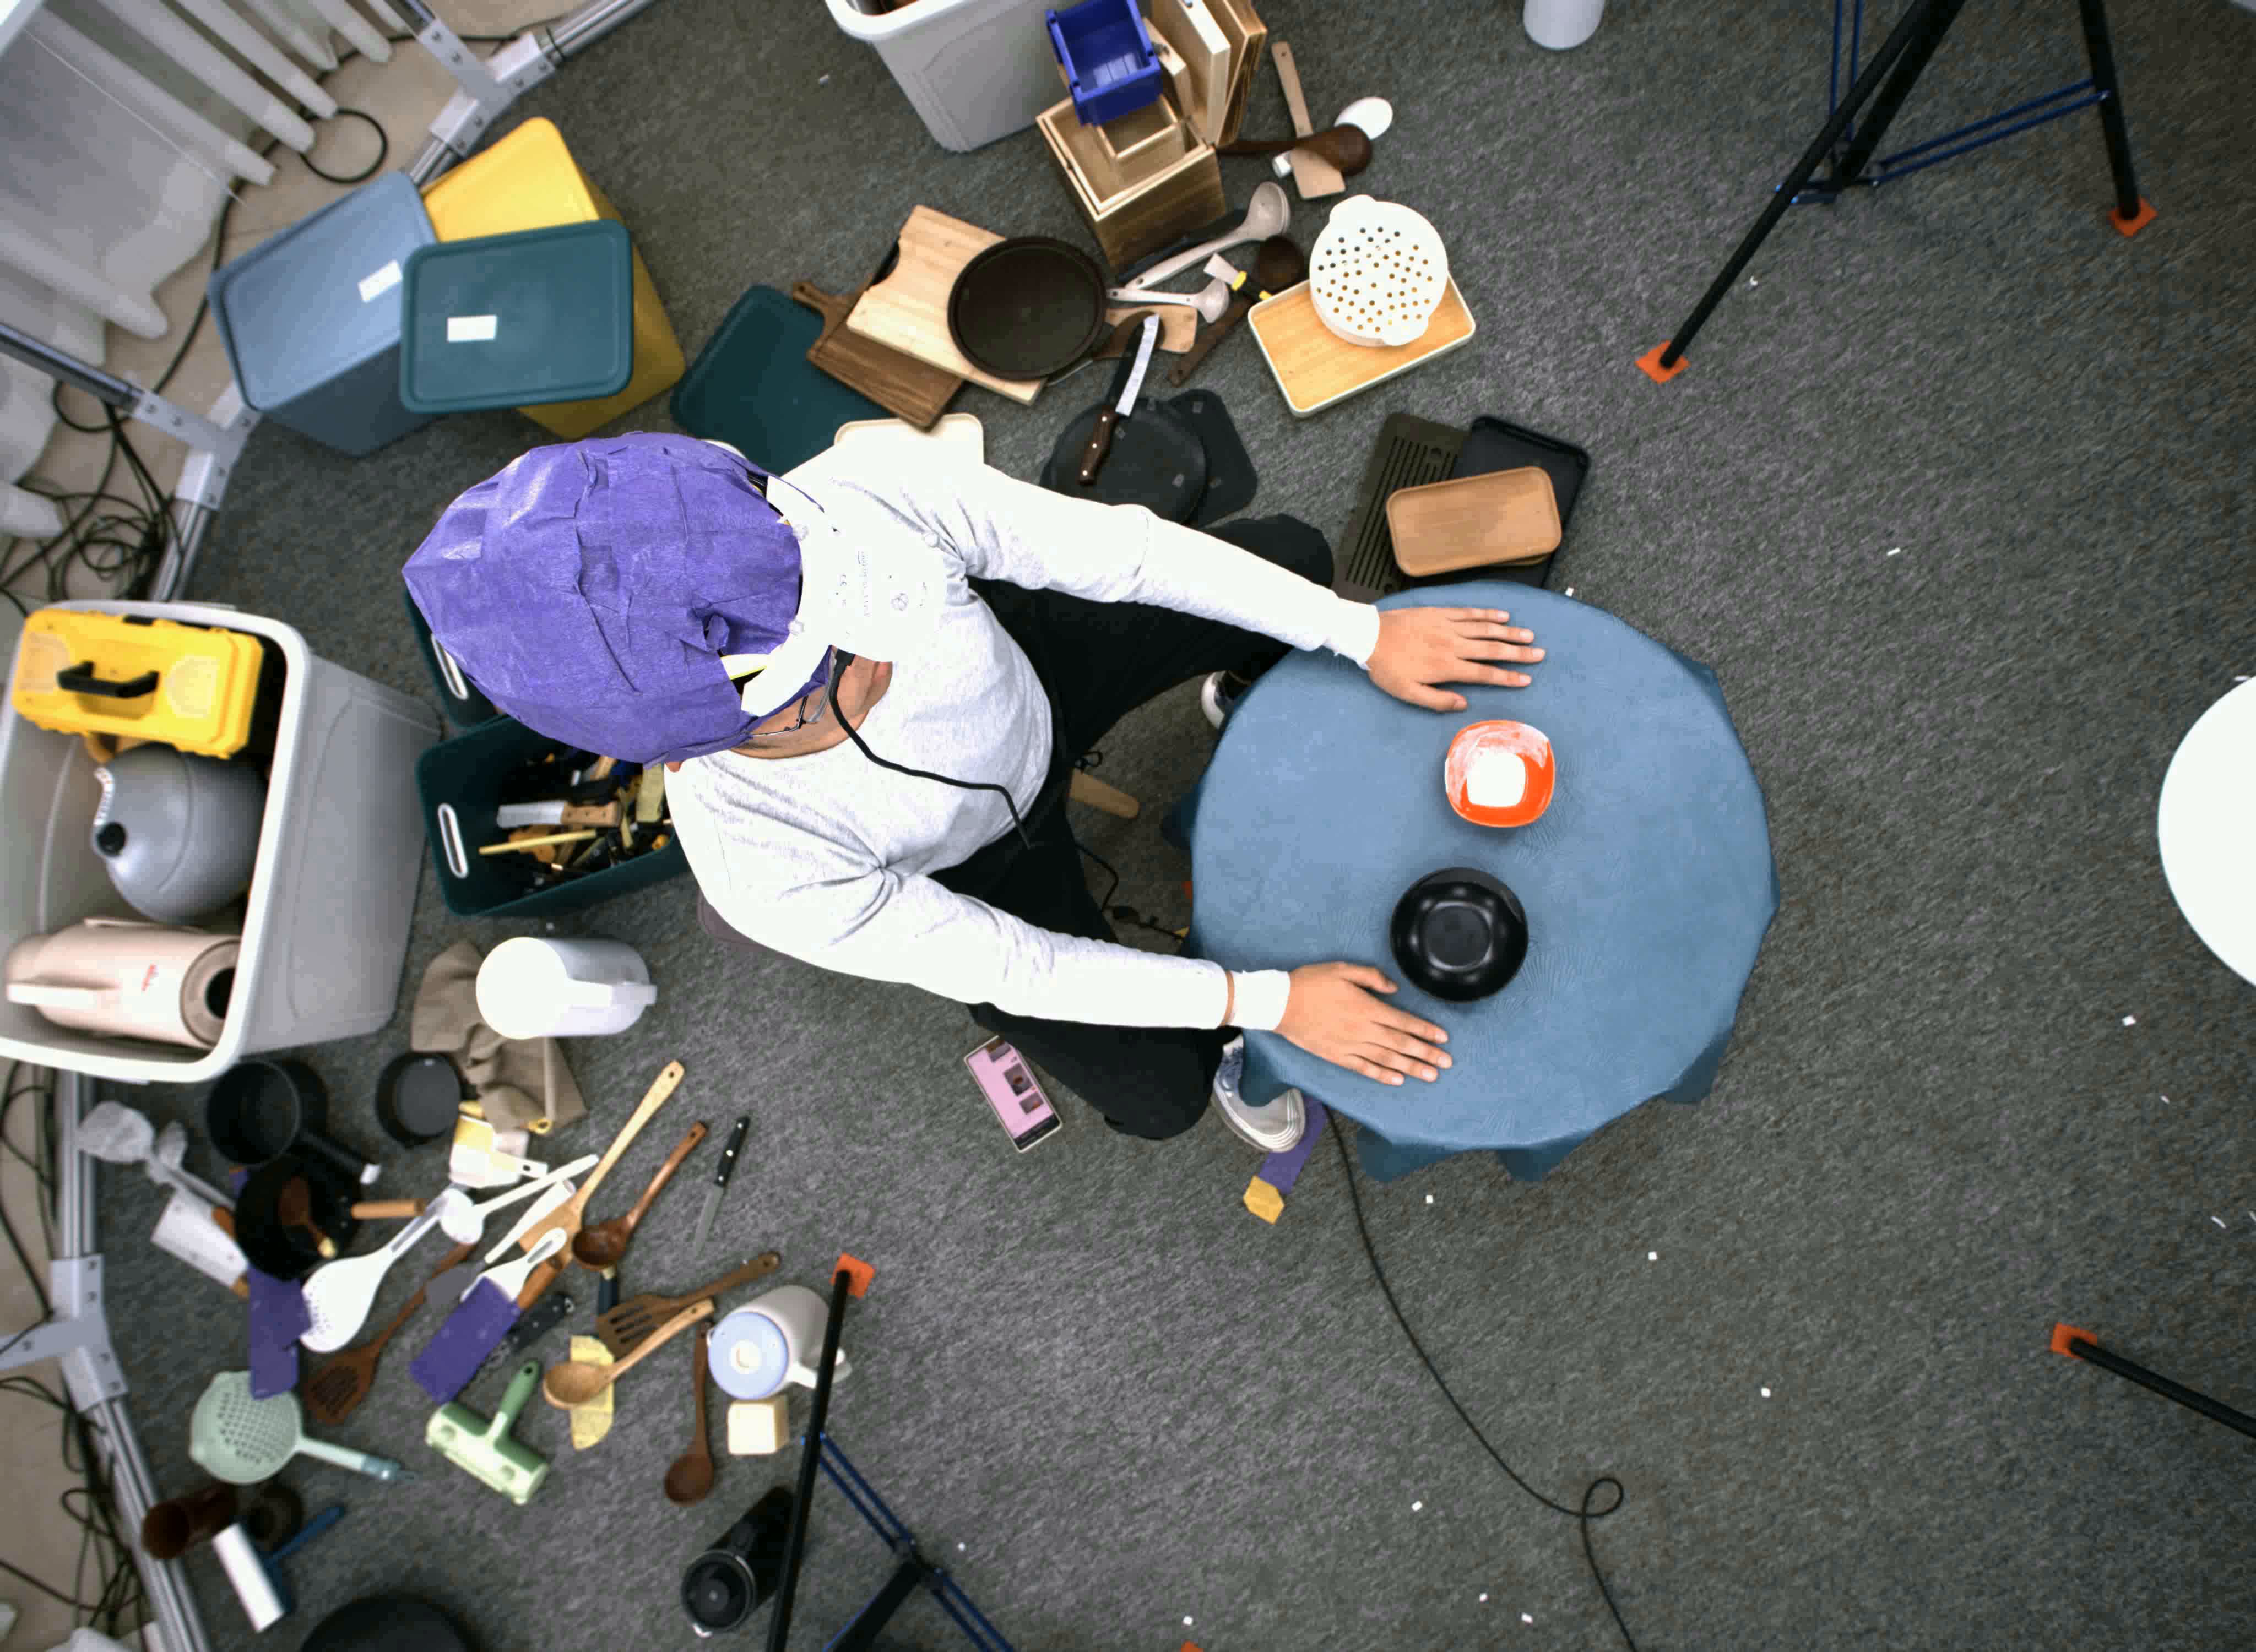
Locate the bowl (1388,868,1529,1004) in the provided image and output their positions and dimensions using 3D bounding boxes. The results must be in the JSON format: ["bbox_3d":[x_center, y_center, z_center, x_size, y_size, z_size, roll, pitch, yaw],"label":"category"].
[{"bbox_3d":[0.340,0.112,1.421,0.140,0.050,0.139,-1,85,13],"label":"bowl"}]

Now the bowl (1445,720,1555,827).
[{"bbox_3d":[0.382,-0.054,1.419,0.119,0.051,0.118,-1,88,9],"label":"bowl"}]
